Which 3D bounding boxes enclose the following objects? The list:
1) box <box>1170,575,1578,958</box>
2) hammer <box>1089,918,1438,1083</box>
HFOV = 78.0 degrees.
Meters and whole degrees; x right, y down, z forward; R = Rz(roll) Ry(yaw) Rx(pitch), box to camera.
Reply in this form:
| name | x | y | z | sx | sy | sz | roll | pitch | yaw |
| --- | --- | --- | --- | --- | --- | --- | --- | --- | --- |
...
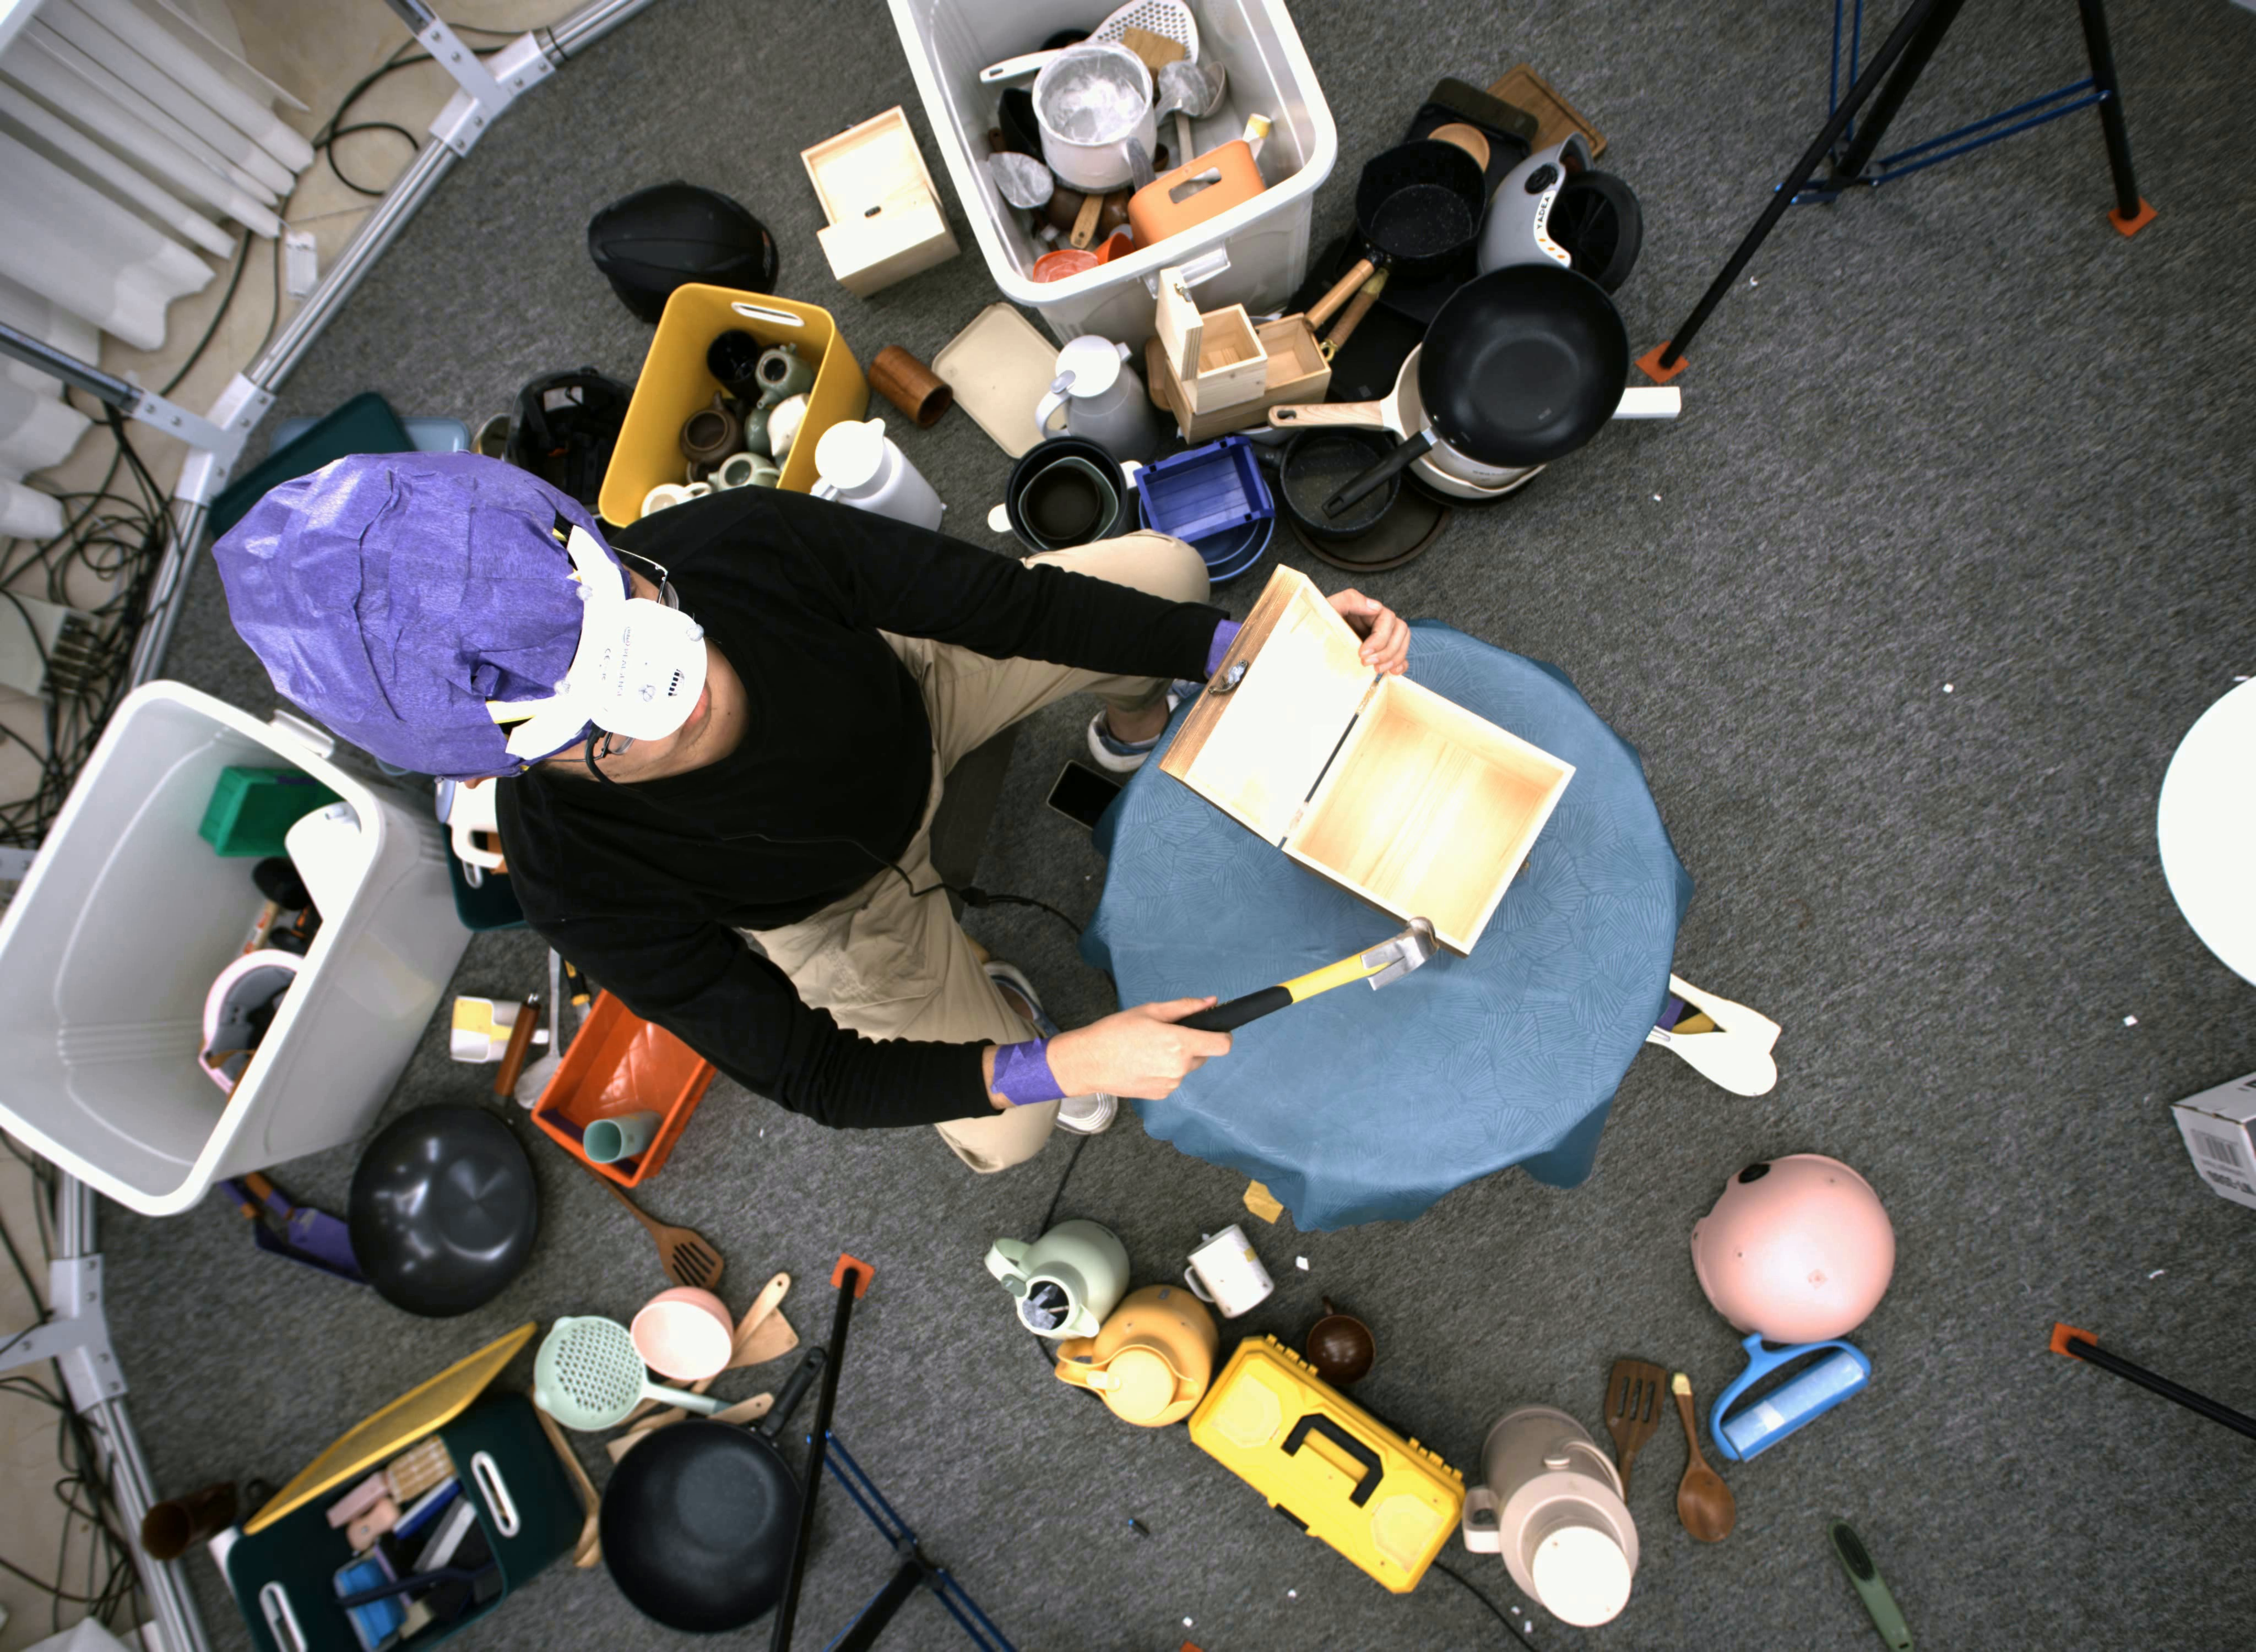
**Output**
| name | x | y | z | sx | sy | sz | roll | pitch | yaw |
| --- | --- | --- | --- | --- | --- | --- | --- | --- | --- |
| box | 0.235 | -0.040 | 1.286 | 0.321 | 0.375 | 0.209 | 30 | 91 | 10 |
| hammer | 0.117 | 0.162 | 1.257 | 0.342 | 0.130 | 0.032 | -24 | 89 | 18 |
